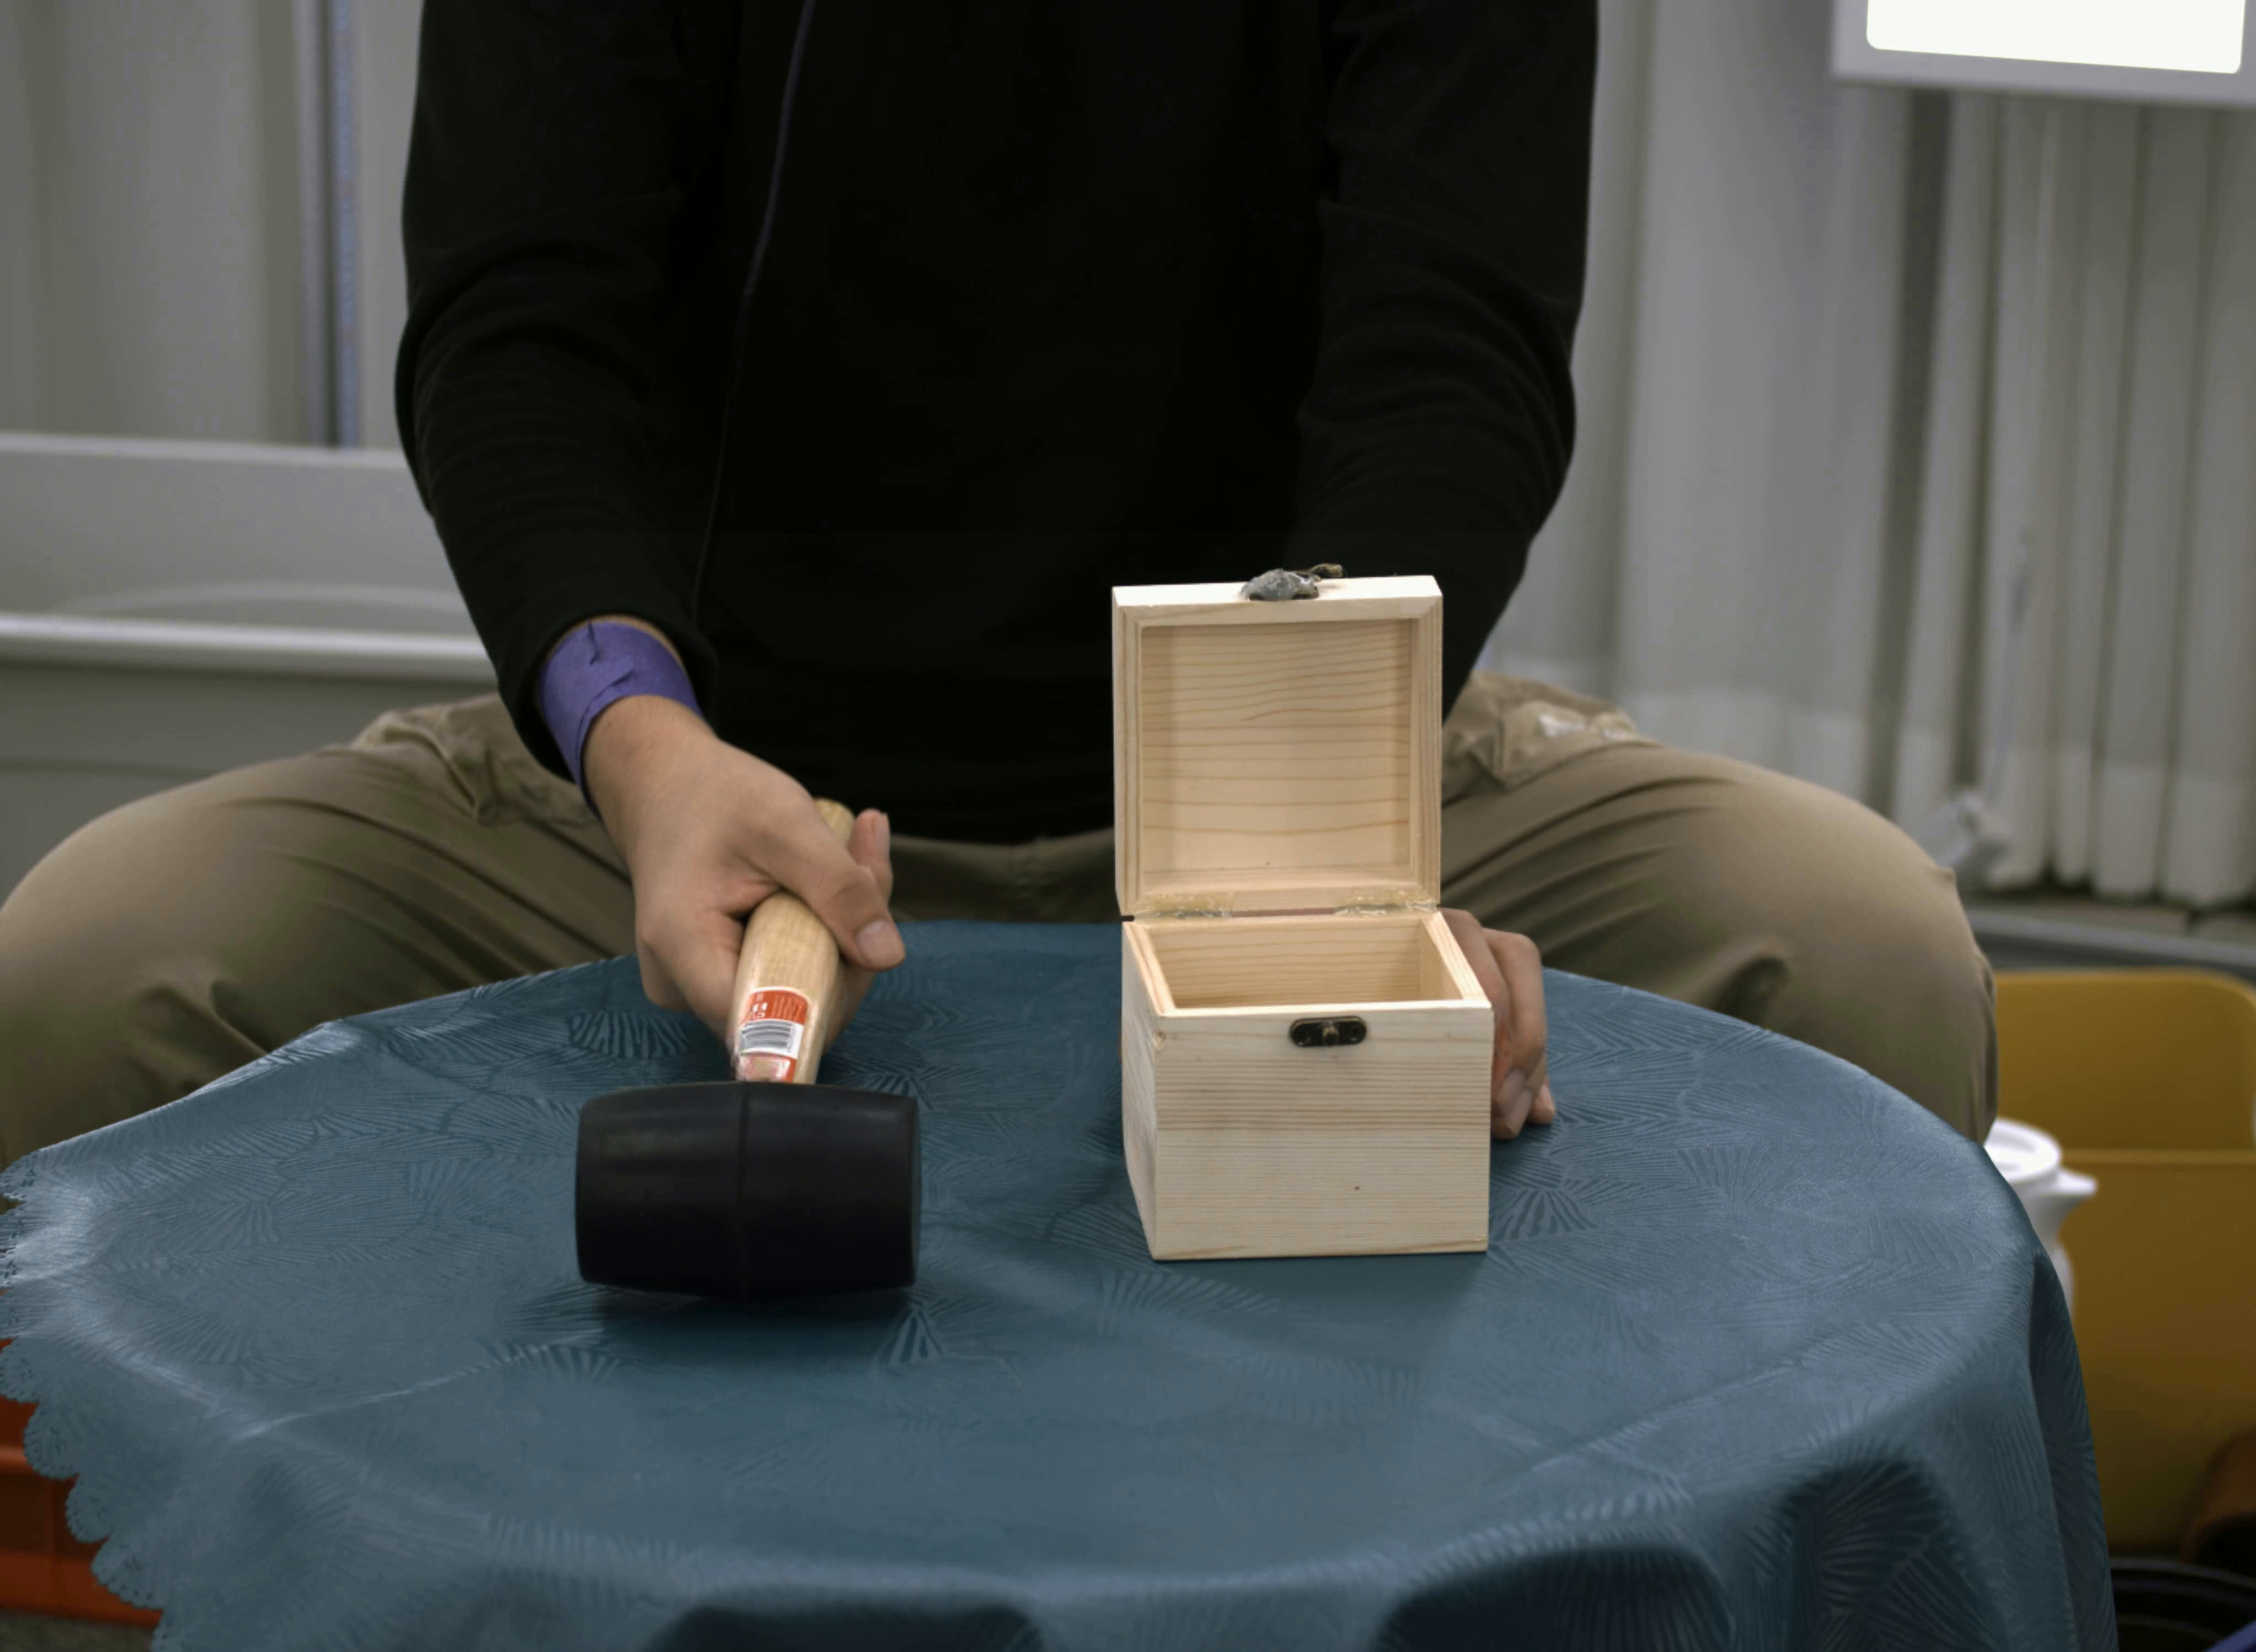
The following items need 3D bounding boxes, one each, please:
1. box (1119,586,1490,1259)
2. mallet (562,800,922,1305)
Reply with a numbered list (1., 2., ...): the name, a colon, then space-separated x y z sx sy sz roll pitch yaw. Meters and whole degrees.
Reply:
1. box: 0.052 0.026 1.598 0.102 0.186 0.133 0 13 -6
2. mallet: -0.107 0.052 1.645 0.101 0.065 0.336 4 23 0
